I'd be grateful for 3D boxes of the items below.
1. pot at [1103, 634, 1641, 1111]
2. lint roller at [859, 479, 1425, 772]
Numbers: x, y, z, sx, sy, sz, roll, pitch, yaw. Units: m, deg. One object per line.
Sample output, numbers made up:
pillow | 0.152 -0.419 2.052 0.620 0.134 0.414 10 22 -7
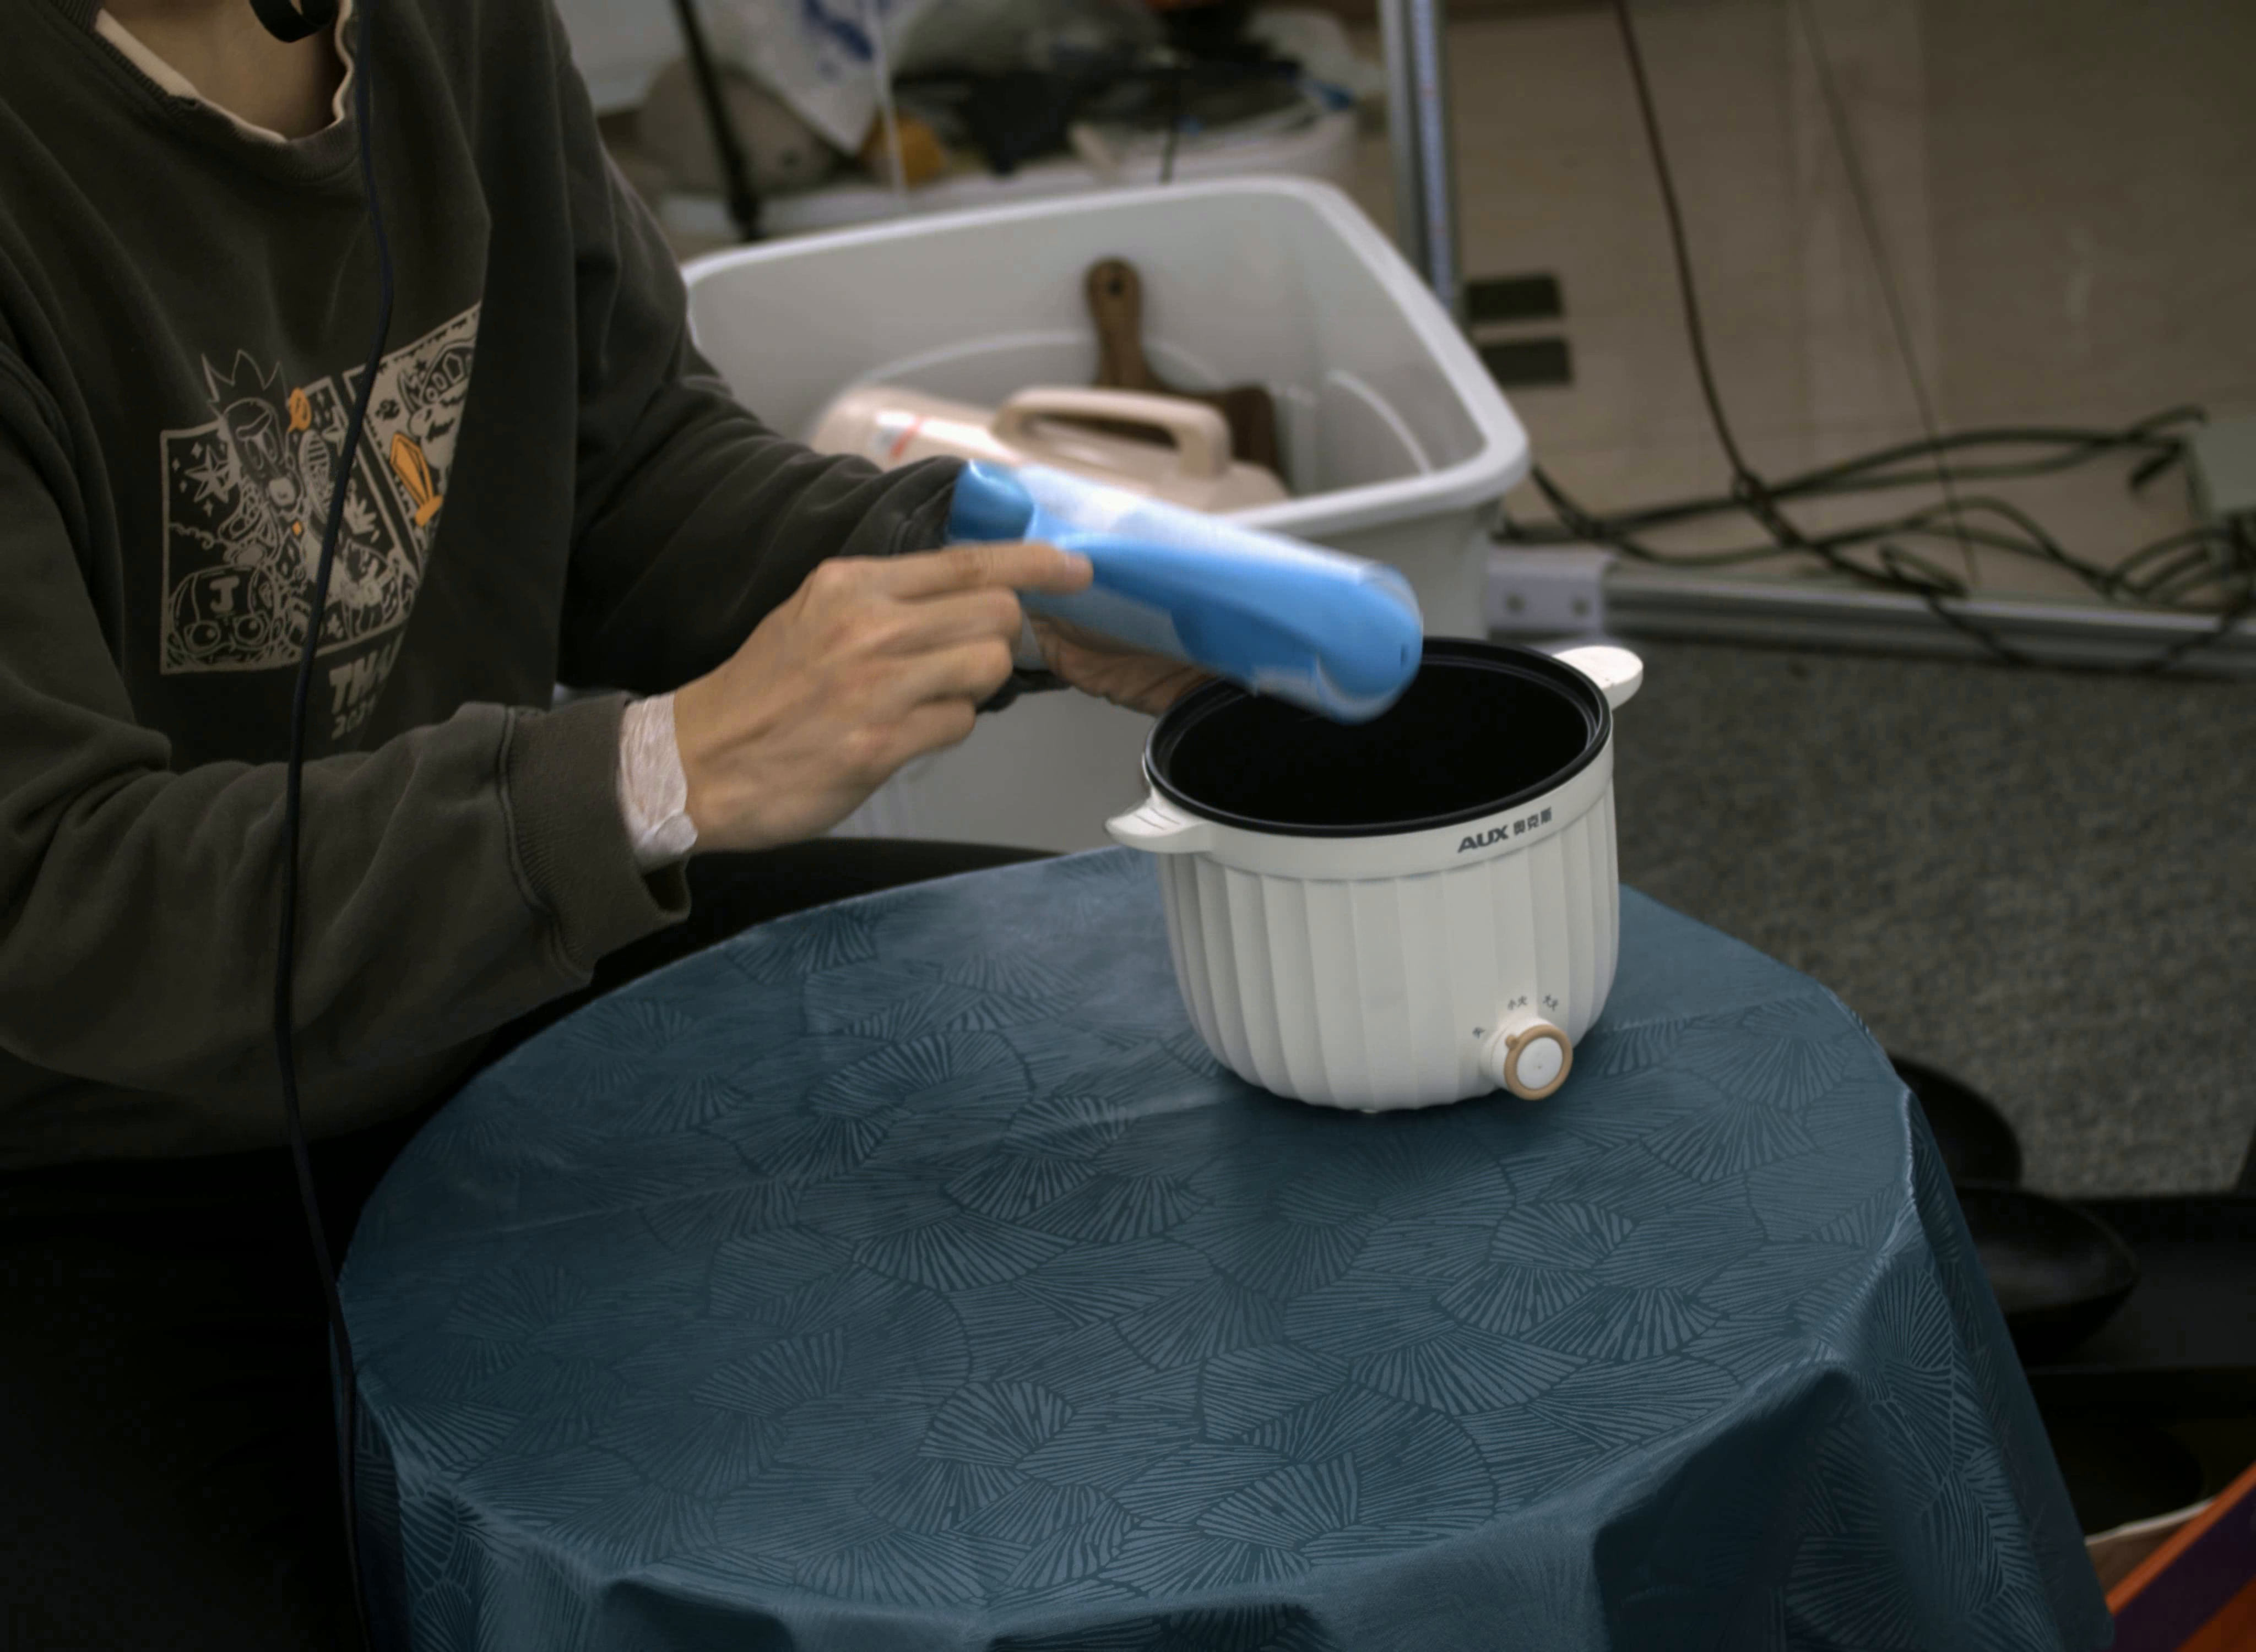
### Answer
pot | 0.106 0.023 2.201 0.239 0.145 0.188 -21 26 -24
lint roller | -0.021 -0.069 2.029 0.179 0.069 0.227 -17 27 -39
